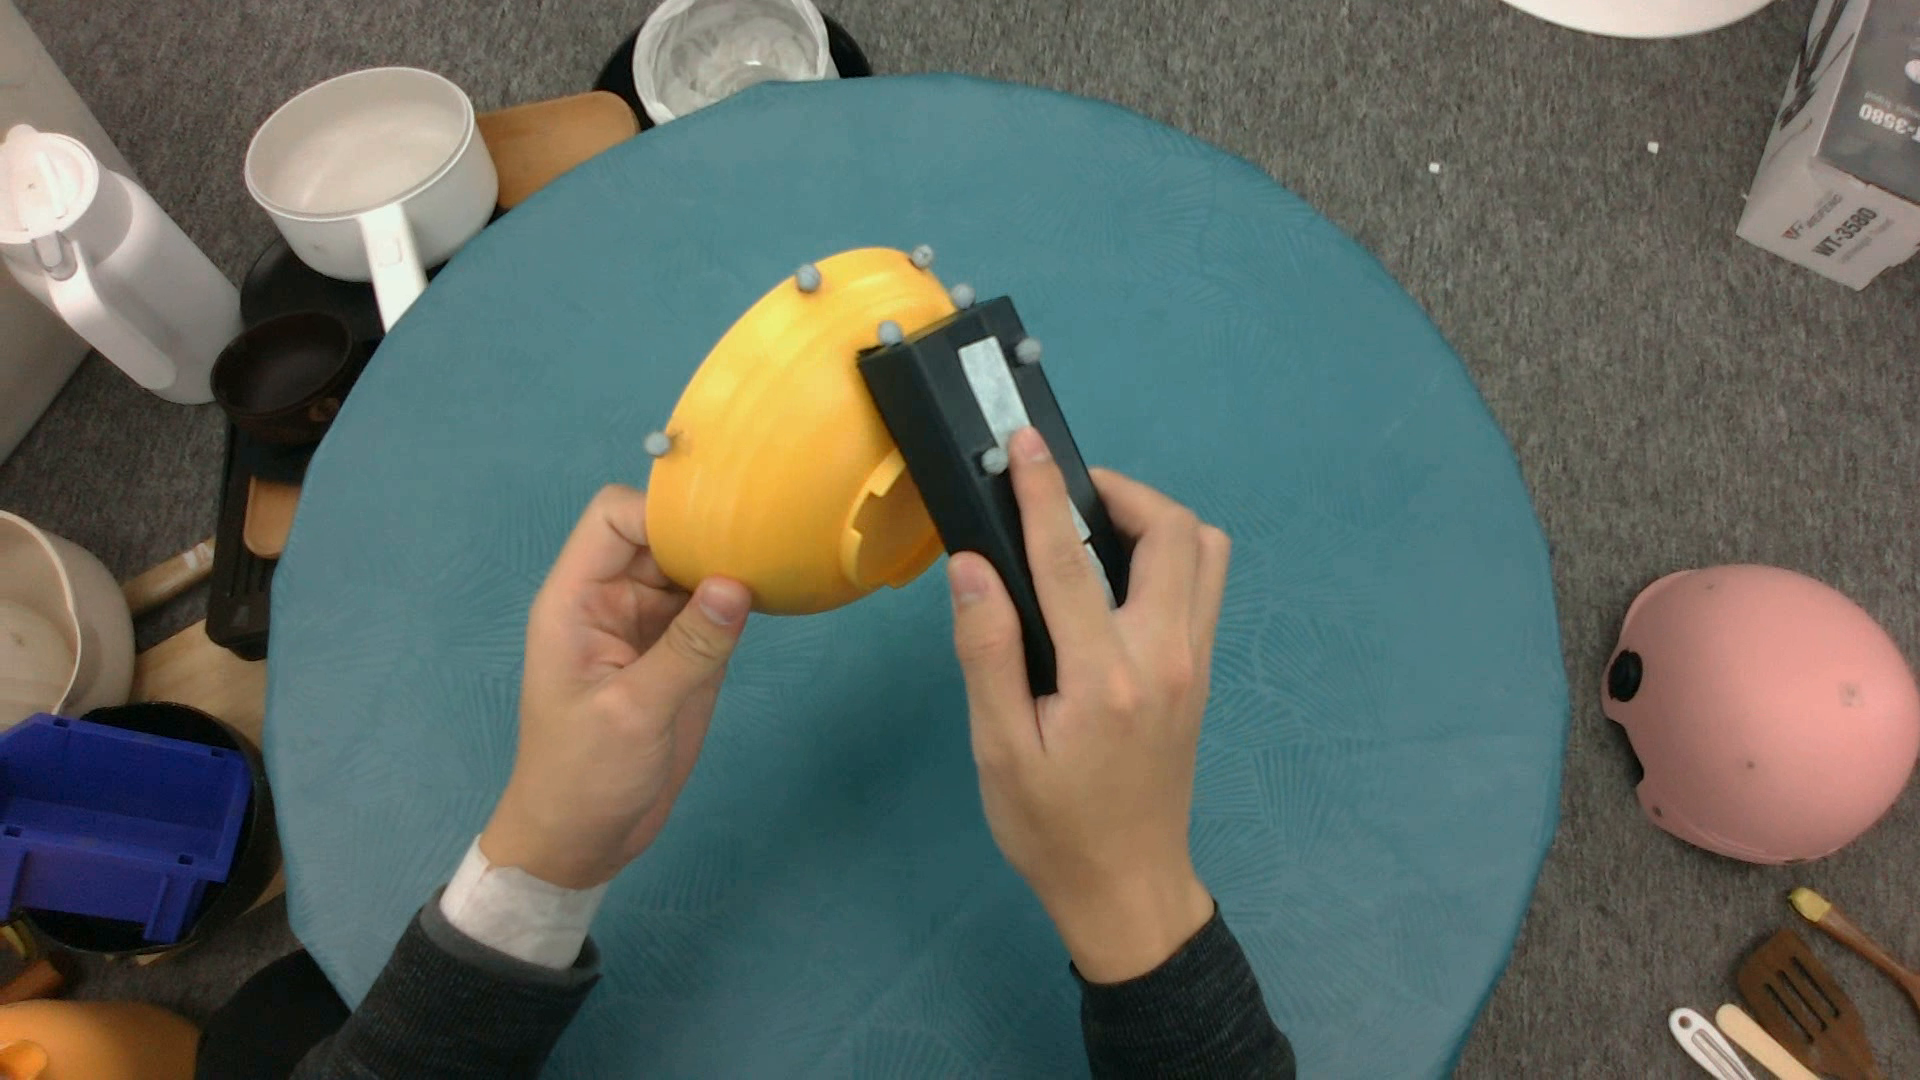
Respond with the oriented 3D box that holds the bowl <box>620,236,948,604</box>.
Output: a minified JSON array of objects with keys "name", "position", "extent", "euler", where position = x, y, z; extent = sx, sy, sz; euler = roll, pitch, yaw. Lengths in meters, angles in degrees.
[{"name":"bowl","position":[-0.041,-0.028,0.480],"extent":[0.060,0.145,0.146],"euler":[38,72,25]}]

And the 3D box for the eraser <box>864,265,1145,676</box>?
[{"name":"eraser","position":[0.016,-0.022,0.451],"extent":[0.054,0.030,0.125],"euler":[-33,106,-37]}]
